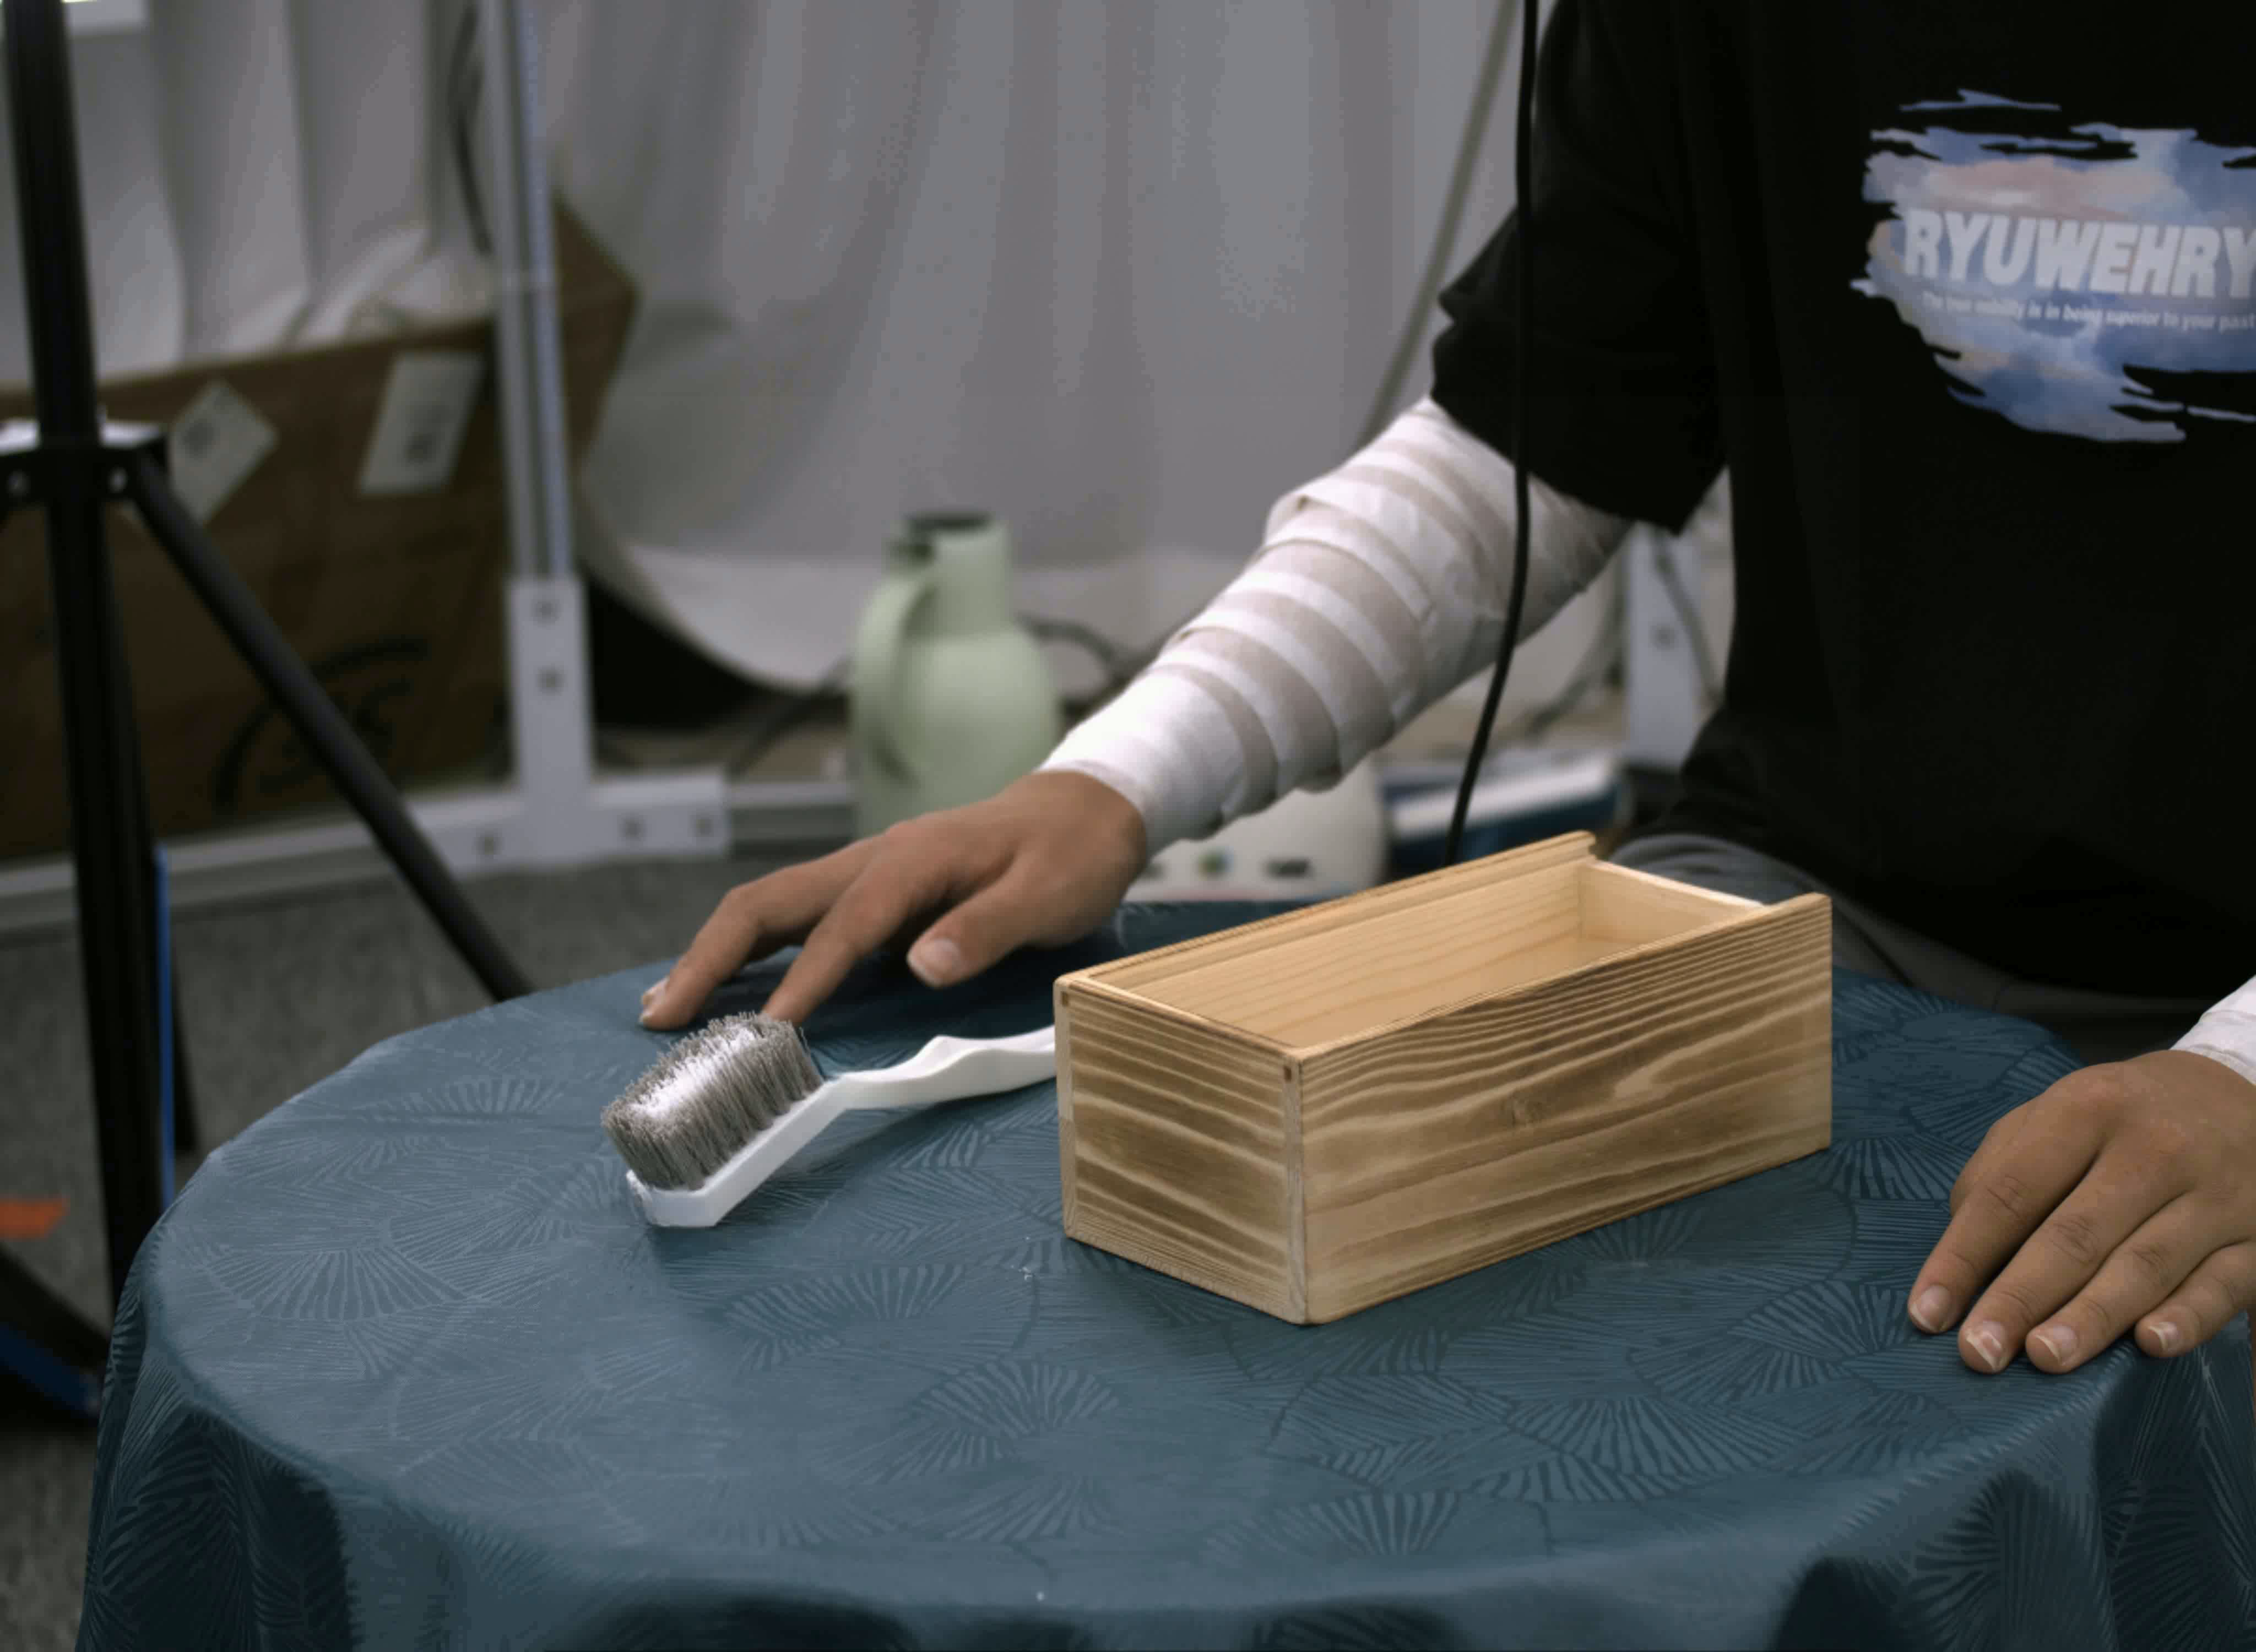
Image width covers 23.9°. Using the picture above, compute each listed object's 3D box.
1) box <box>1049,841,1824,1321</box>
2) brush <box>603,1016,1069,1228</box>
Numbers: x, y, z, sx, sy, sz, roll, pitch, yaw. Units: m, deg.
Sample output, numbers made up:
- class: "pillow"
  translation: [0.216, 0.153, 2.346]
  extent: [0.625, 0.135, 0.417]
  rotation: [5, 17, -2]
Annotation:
- class: "box"
  translation: [0.092, 0.070, 1.535]
  extent: [0.206, 0.080, 0.110]
  rotation: [-13, 19, -38]
- class: "brush"
  translation: [-0.066, 0.066, 1.625]
  extent: [0.035, 0.050, 0.238]
  rotation: [11, 22, 40]
